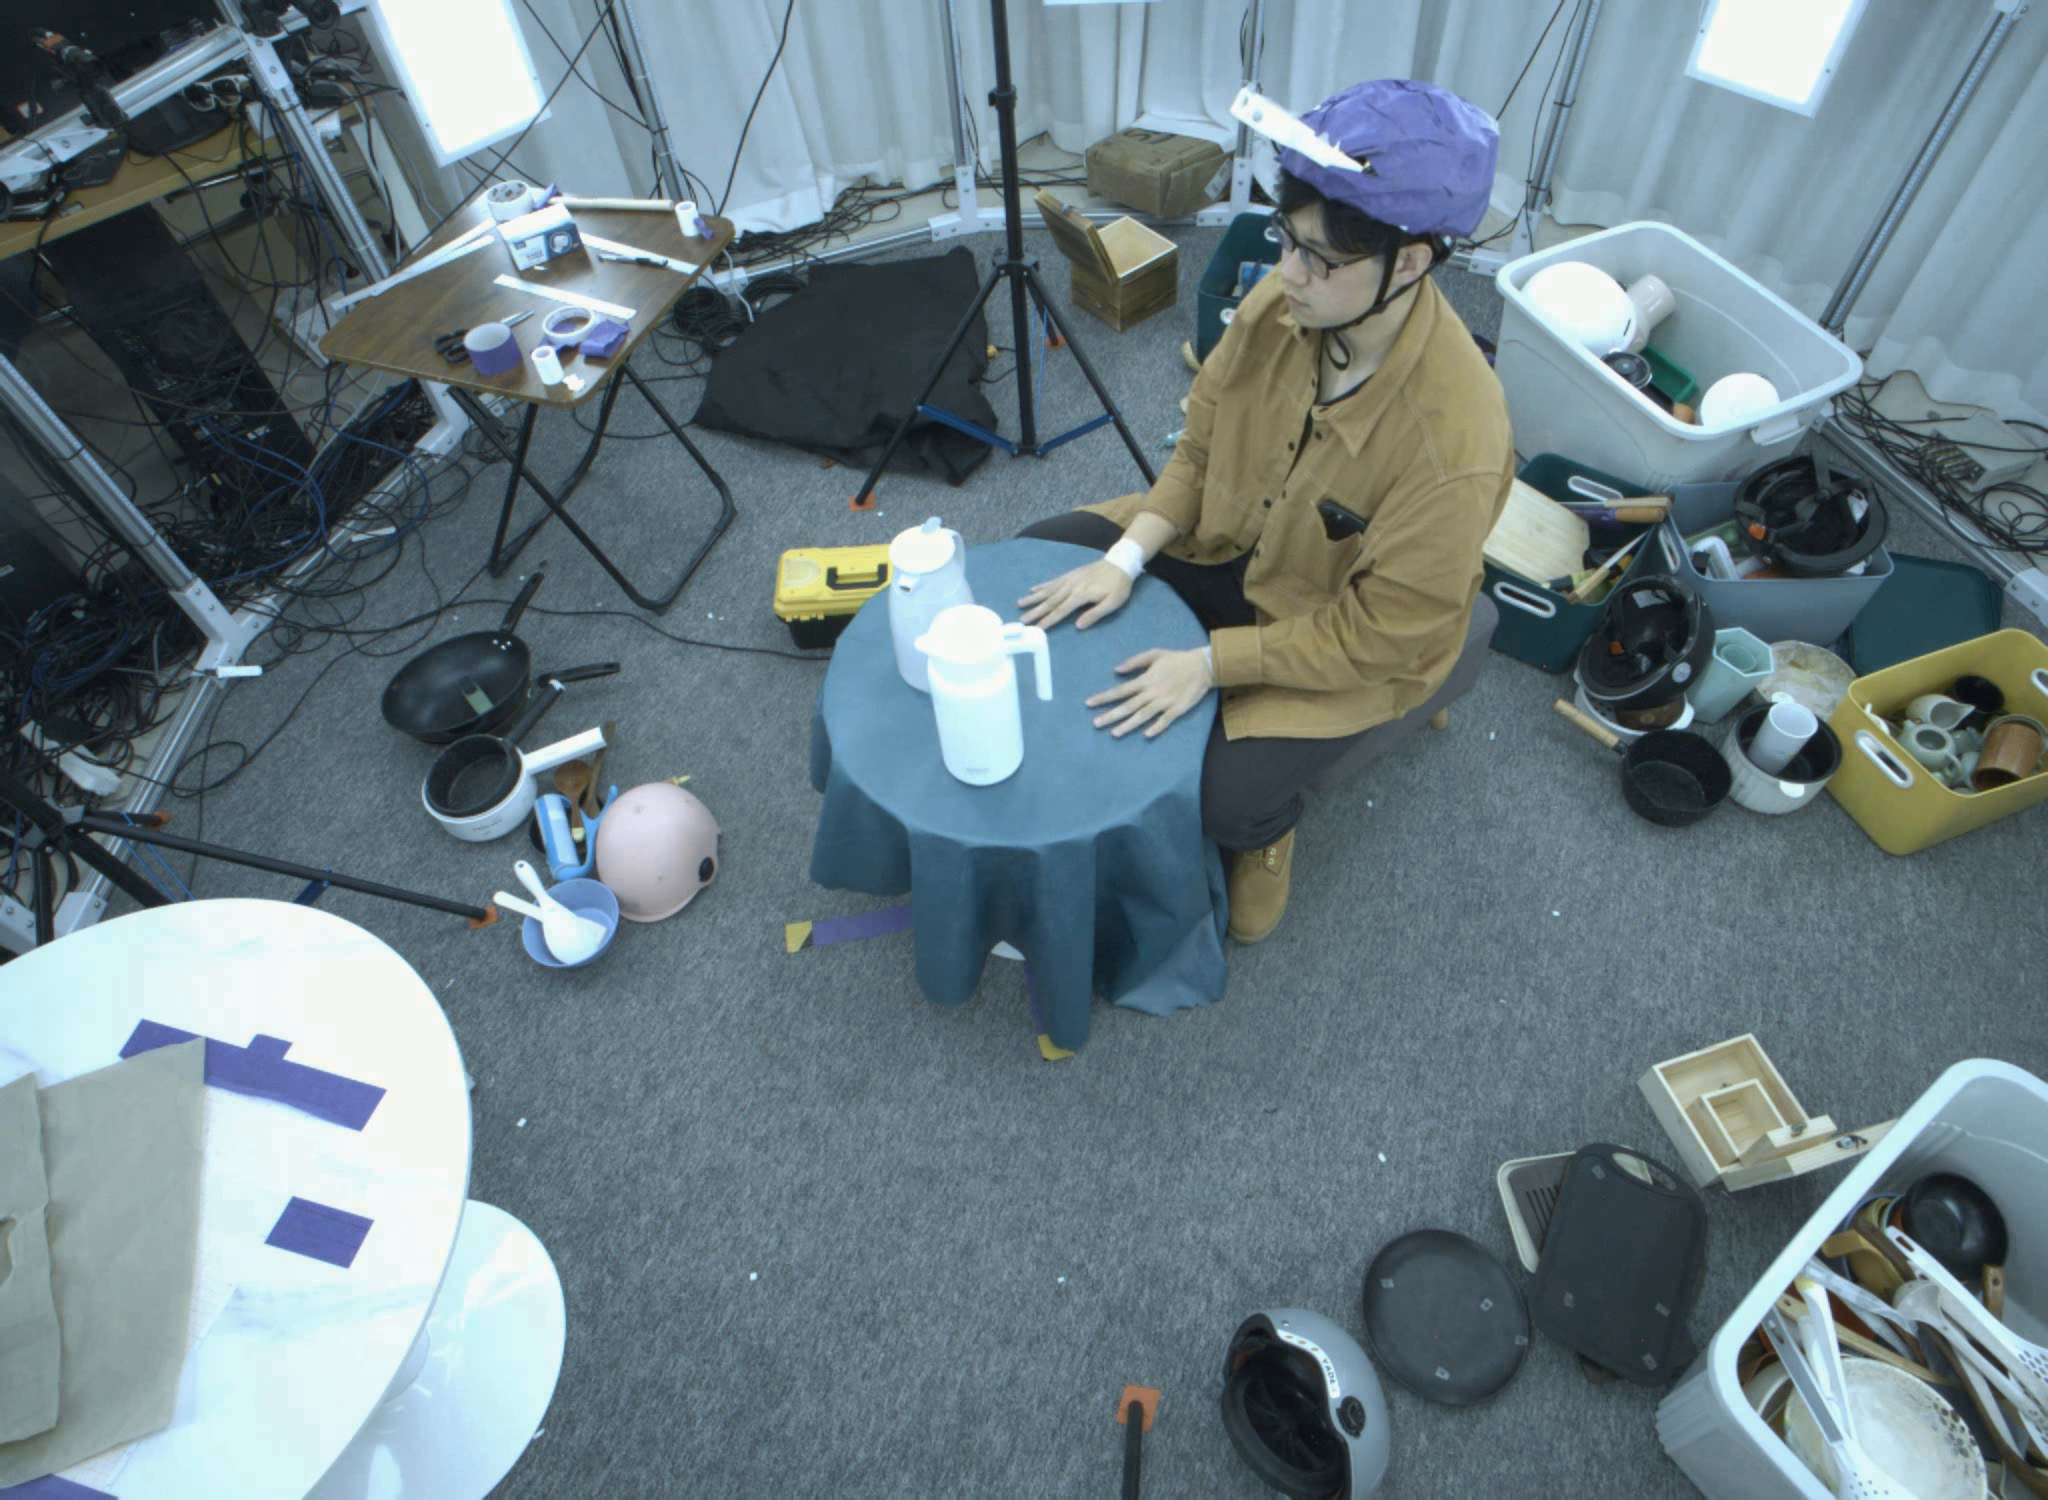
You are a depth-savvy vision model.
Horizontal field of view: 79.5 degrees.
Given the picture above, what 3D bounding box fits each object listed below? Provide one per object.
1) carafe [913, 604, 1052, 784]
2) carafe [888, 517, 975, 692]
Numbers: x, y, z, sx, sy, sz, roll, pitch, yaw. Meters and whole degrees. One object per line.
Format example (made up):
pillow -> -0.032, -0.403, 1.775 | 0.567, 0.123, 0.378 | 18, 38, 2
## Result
carafe -> -0.050, -0.076, 1.673 | 0.173, 0.272, 0.122 | -8, 52, -2
carafe -> -0.131, -0.226, 1.795 | 0.131, 0.251, 0.167 | 15, 56, 14
